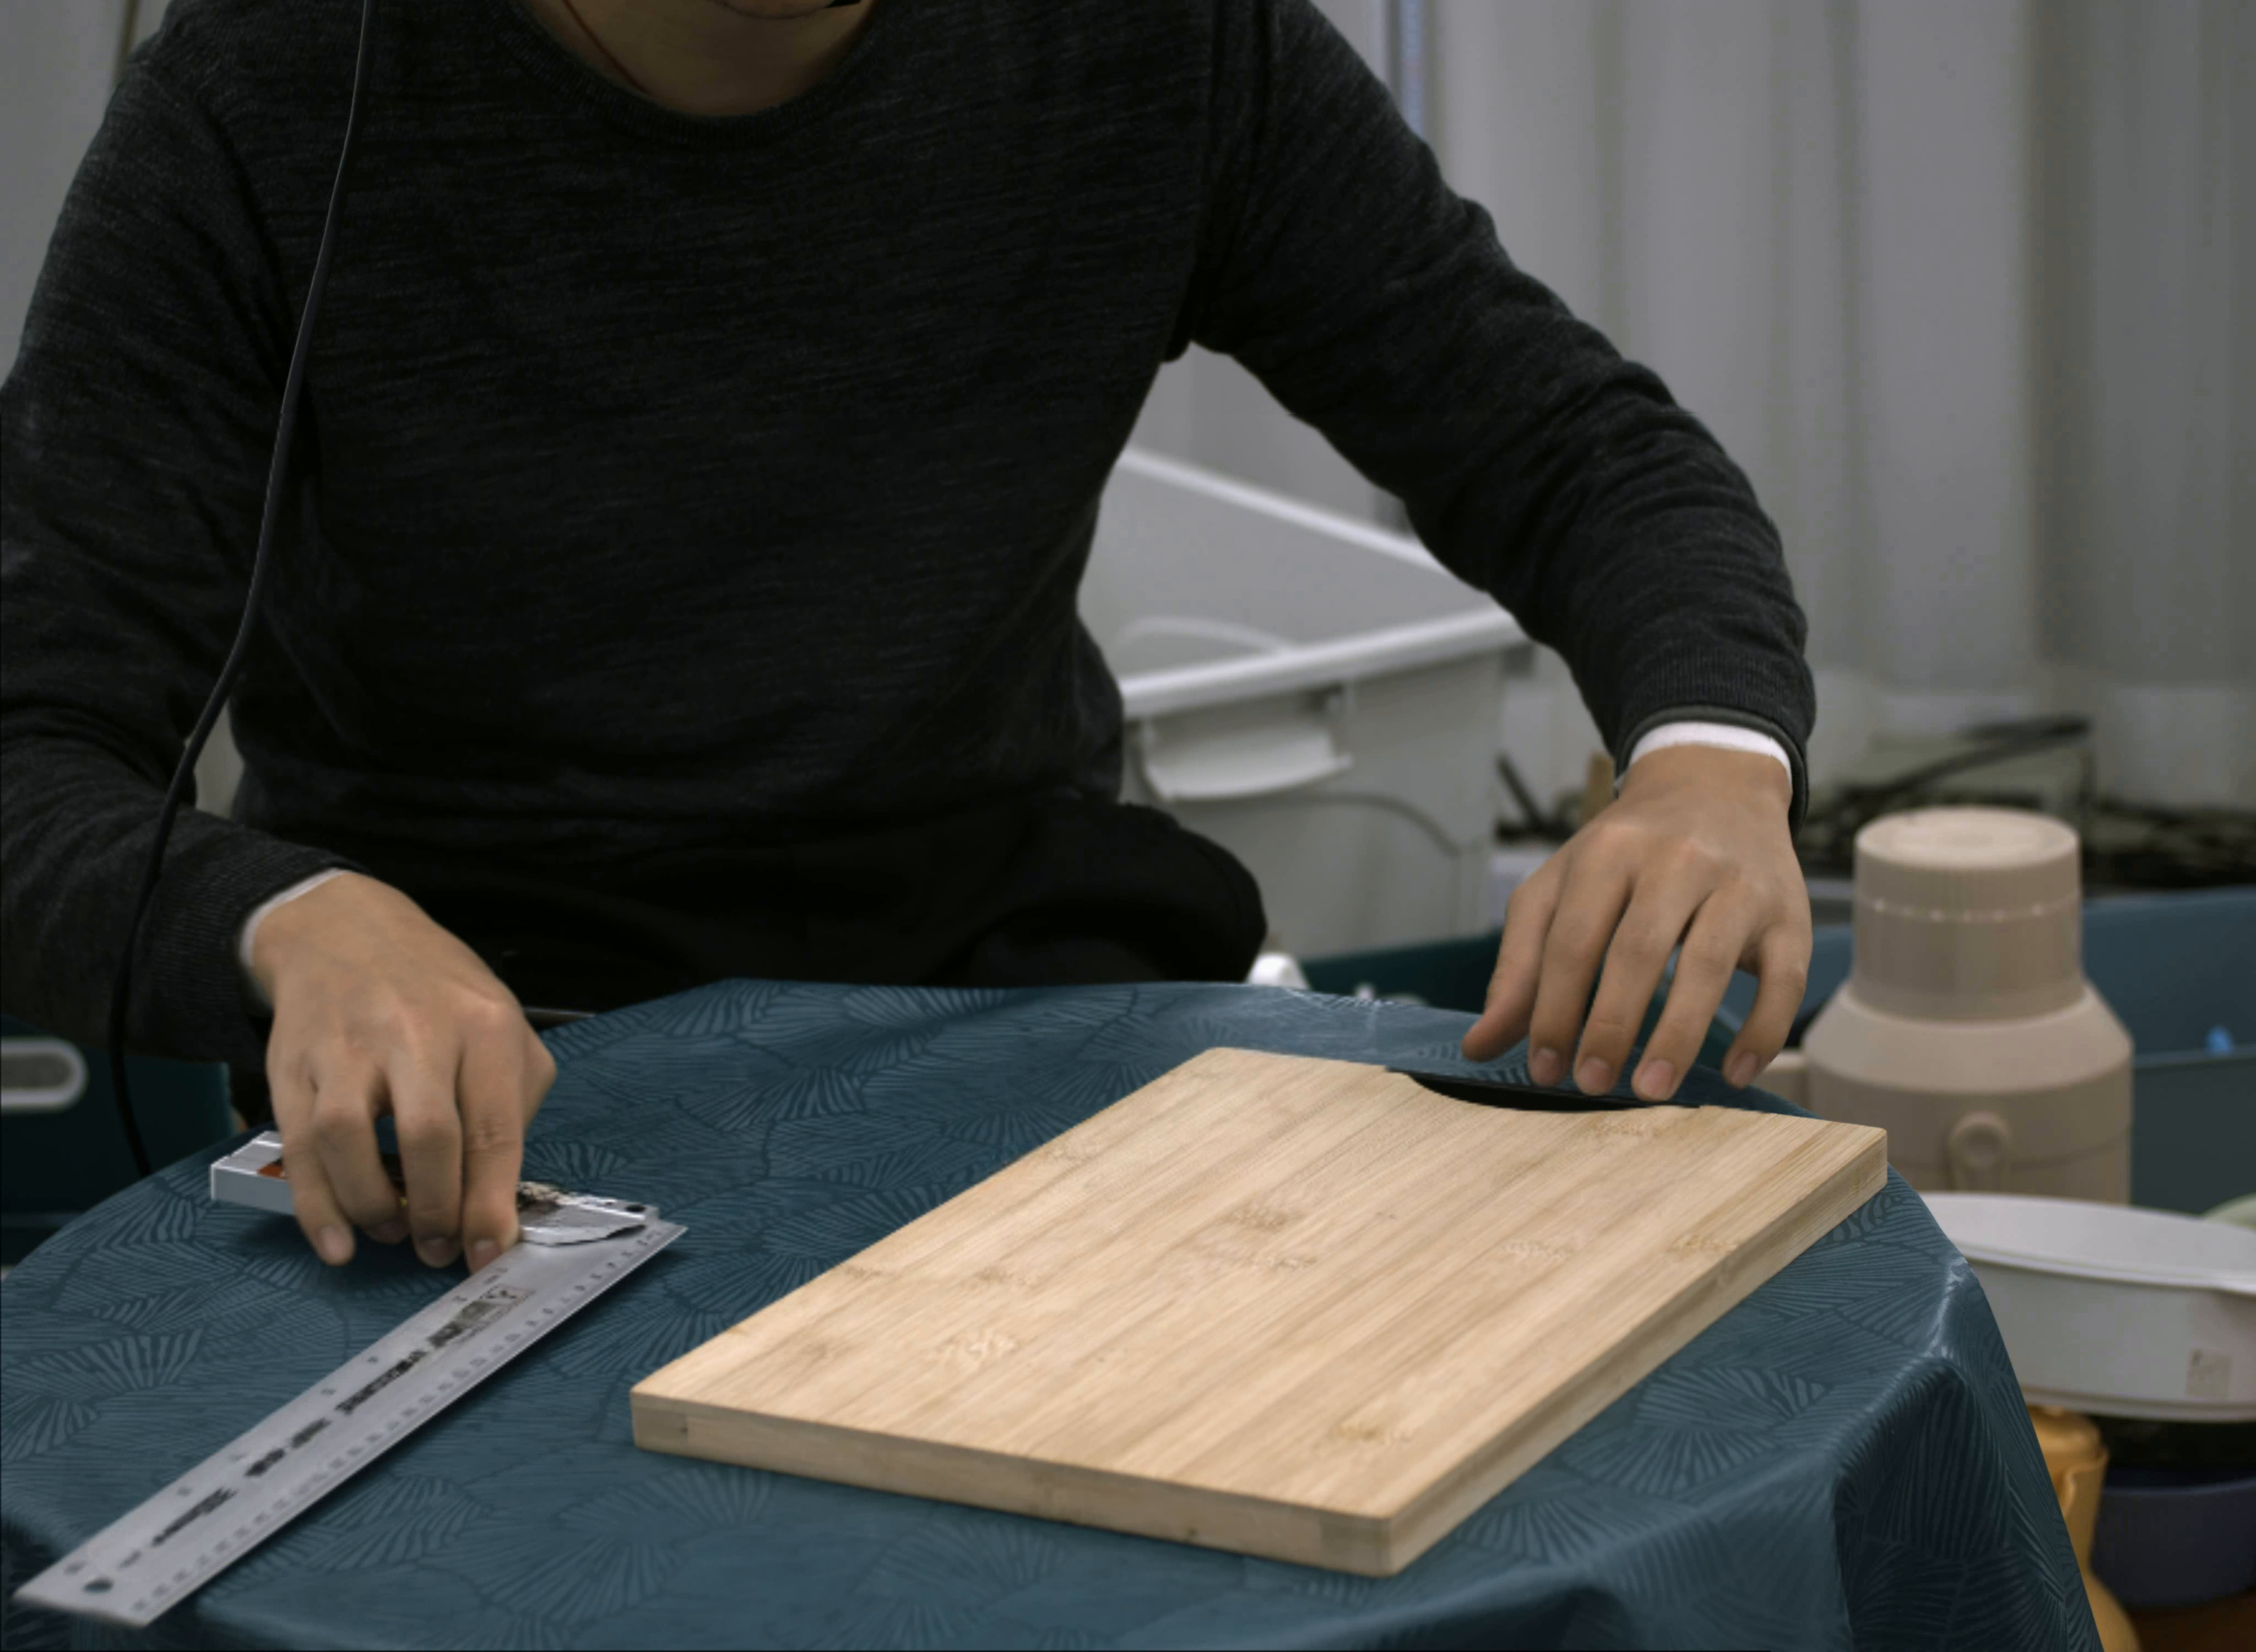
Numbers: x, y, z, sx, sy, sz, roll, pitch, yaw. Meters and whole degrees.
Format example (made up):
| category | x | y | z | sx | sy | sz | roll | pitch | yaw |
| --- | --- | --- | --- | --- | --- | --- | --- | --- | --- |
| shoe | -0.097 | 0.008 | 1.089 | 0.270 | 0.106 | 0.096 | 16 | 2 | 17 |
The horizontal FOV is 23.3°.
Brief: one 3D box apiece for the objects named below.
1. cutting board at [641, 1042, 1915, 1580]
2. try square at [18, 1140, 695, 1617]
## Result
| category | x | y | z | sx | sy | sz | roll | pitch | yaw |
| --- | --- | --- | --- | --- | --- | --- | --- | --- | --- |
| cutting board | 0.052 | 0.133 | 1.605 | 0.251 | 0.023 | 0.349 | 6 | 17 | 29 |
| try square | -0.260 | 0.154 | 1.572 | 0.152 | 0.016 | 0.314 | 7 | 18 | 22 |
